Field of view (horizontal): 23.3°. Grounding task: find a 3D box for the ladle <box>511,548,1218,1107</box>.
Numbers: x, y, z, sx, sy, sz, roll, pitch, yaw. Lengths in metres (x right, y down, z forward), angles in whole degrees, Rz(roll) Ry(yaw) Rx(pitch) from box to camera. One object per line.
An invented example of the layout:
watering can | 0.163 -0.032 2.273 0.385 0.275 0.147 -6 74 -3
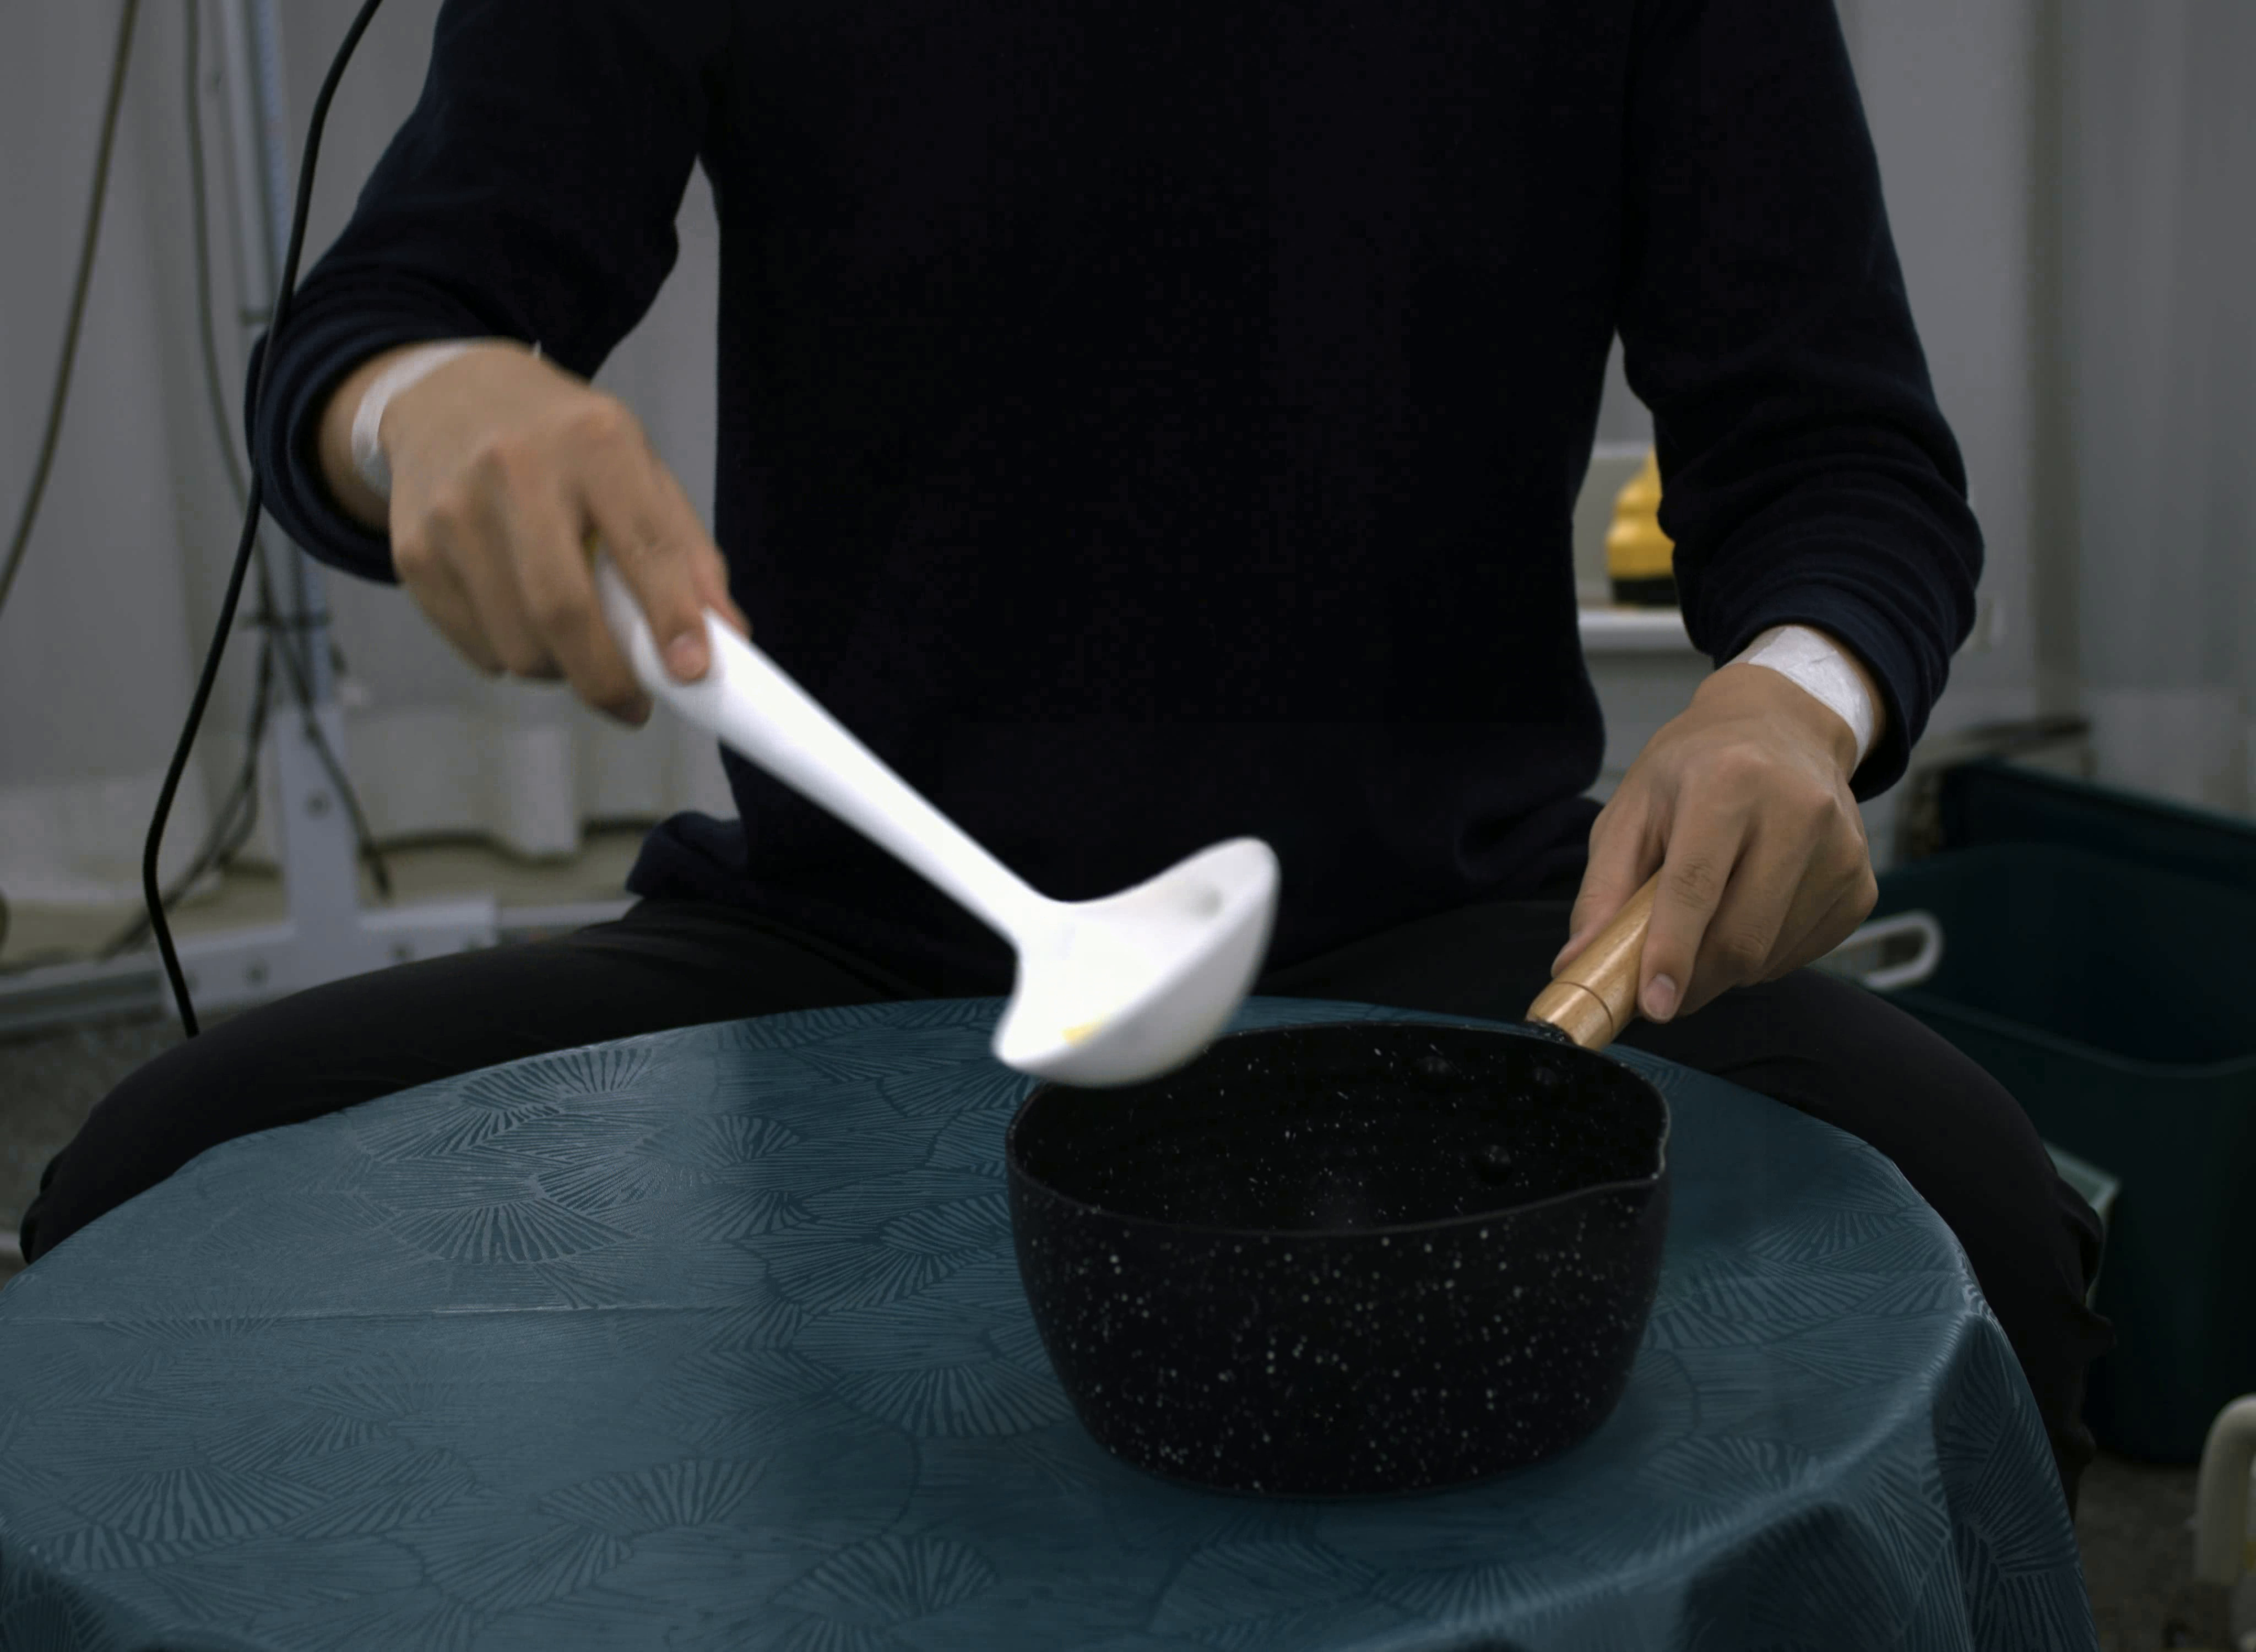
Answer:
ladle | -0.081 -0.011 1.491 0.090 0.069 0.296 -46 50 -10

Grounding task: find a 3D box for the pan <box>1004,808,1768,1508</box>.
pan | 0.100 0.090 1.579 0.208 0.108 0.343 5 18 31
